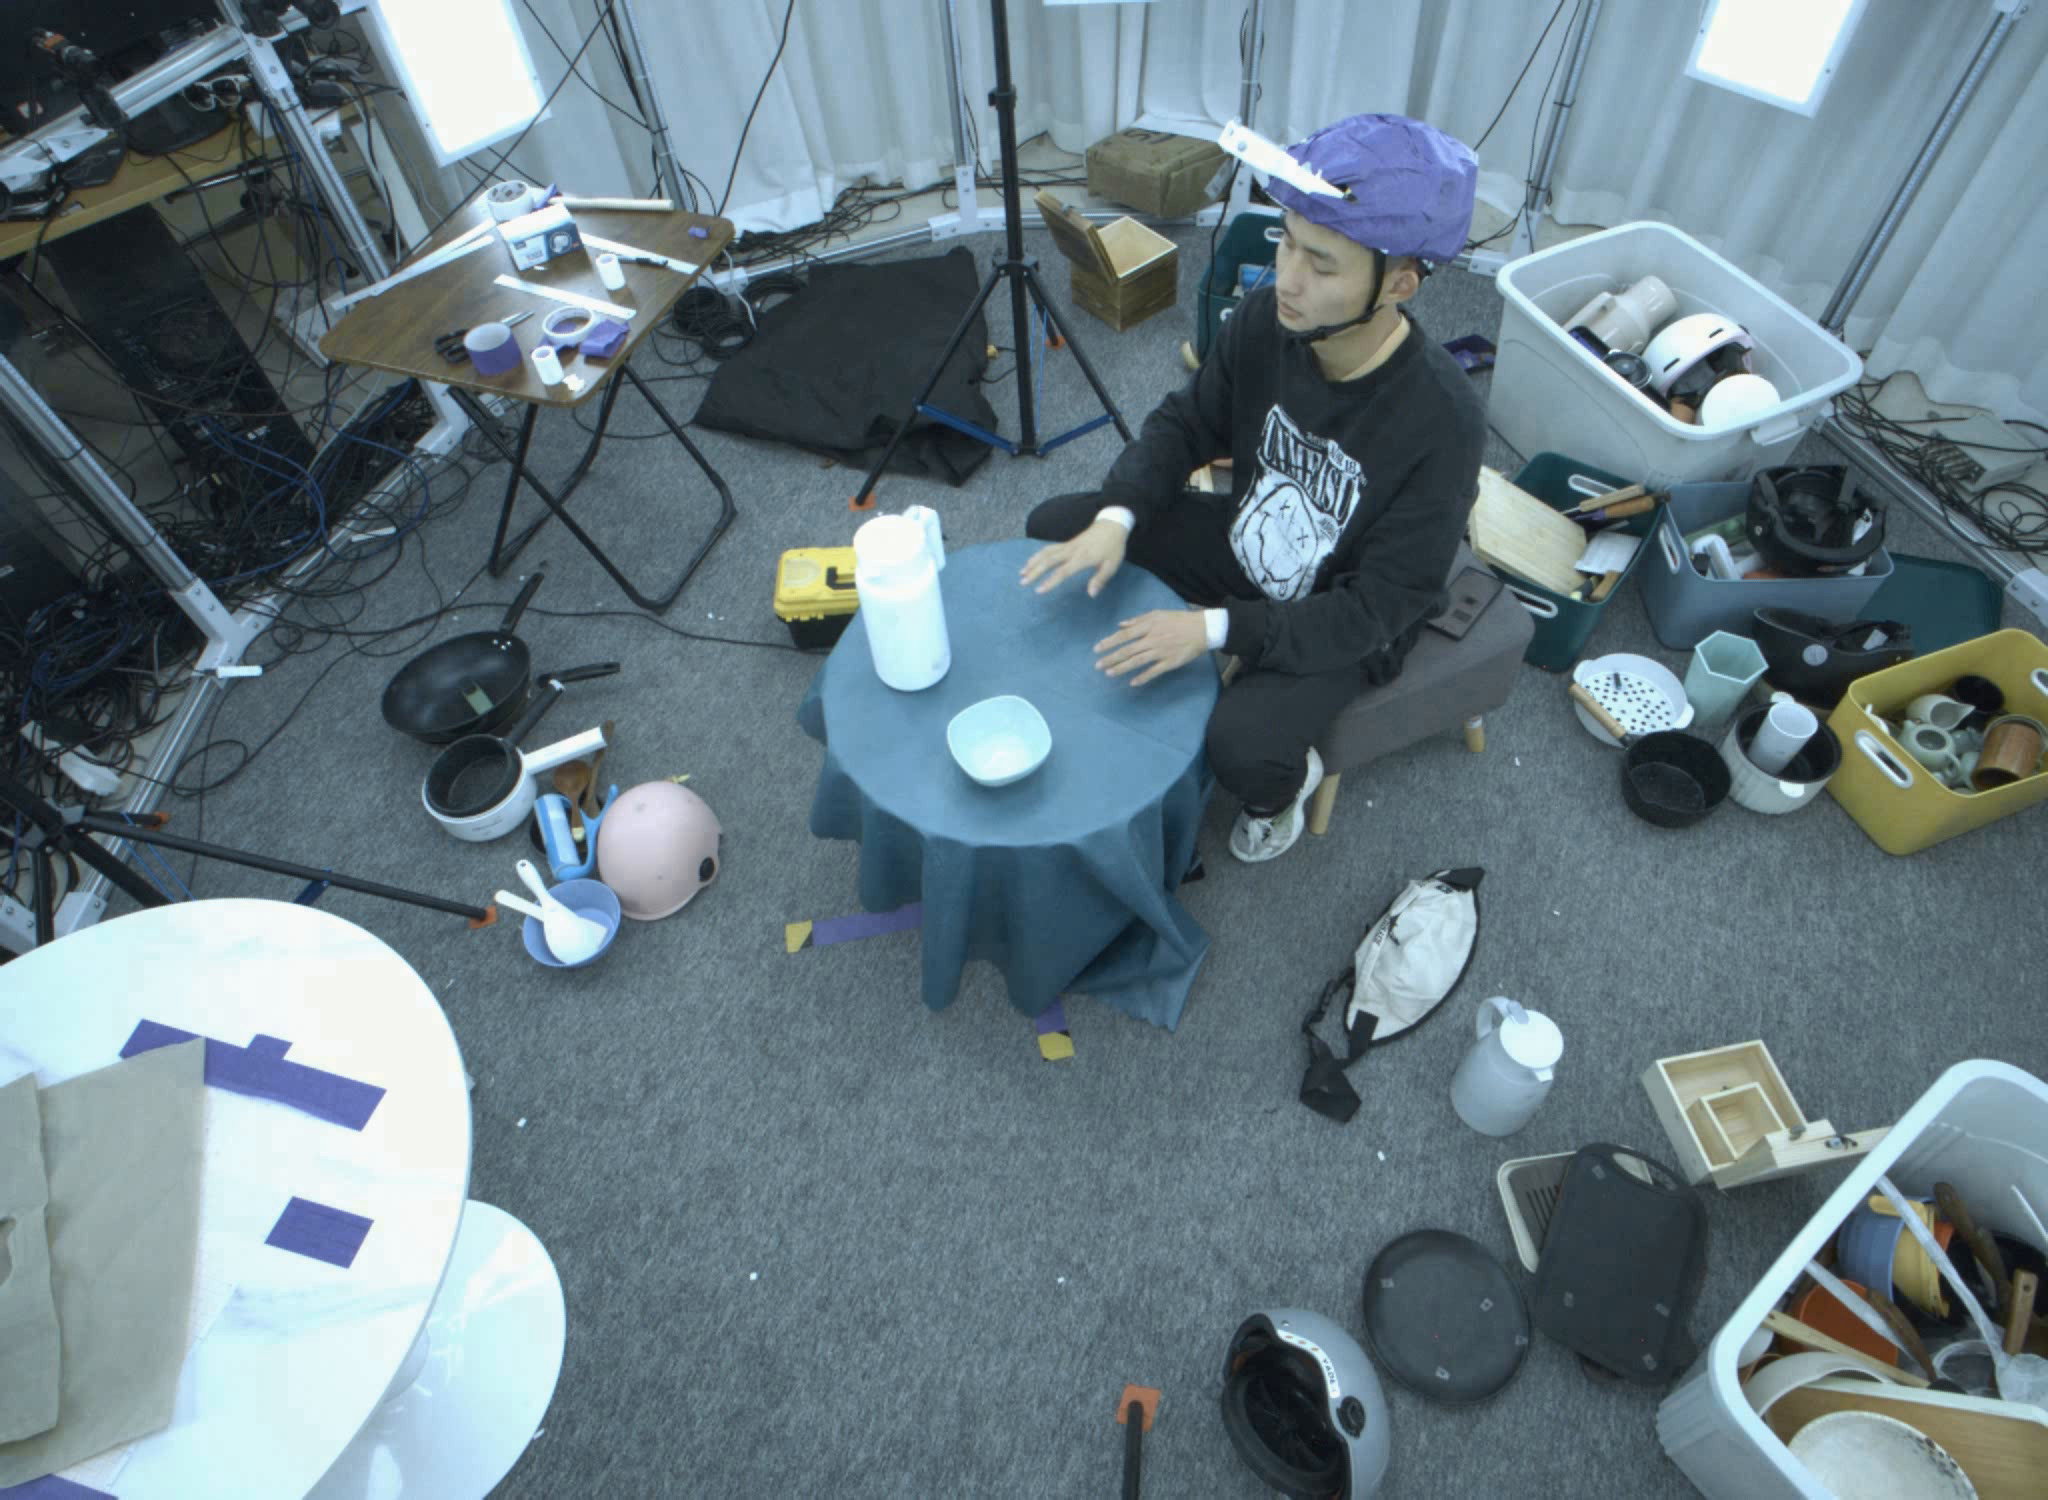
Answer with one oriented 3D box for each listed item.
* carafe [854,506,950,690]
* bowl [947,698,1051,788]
[{"bbox_3d":[-0.172,-0.224,1.784,0.122,0.272,0.173,19,58,18],"label":"carafe"},{"bbox_3d":[-0.035,0.000,1.756,0.151,0.059,0.150,1,52,0],"label":"bowl"}]
